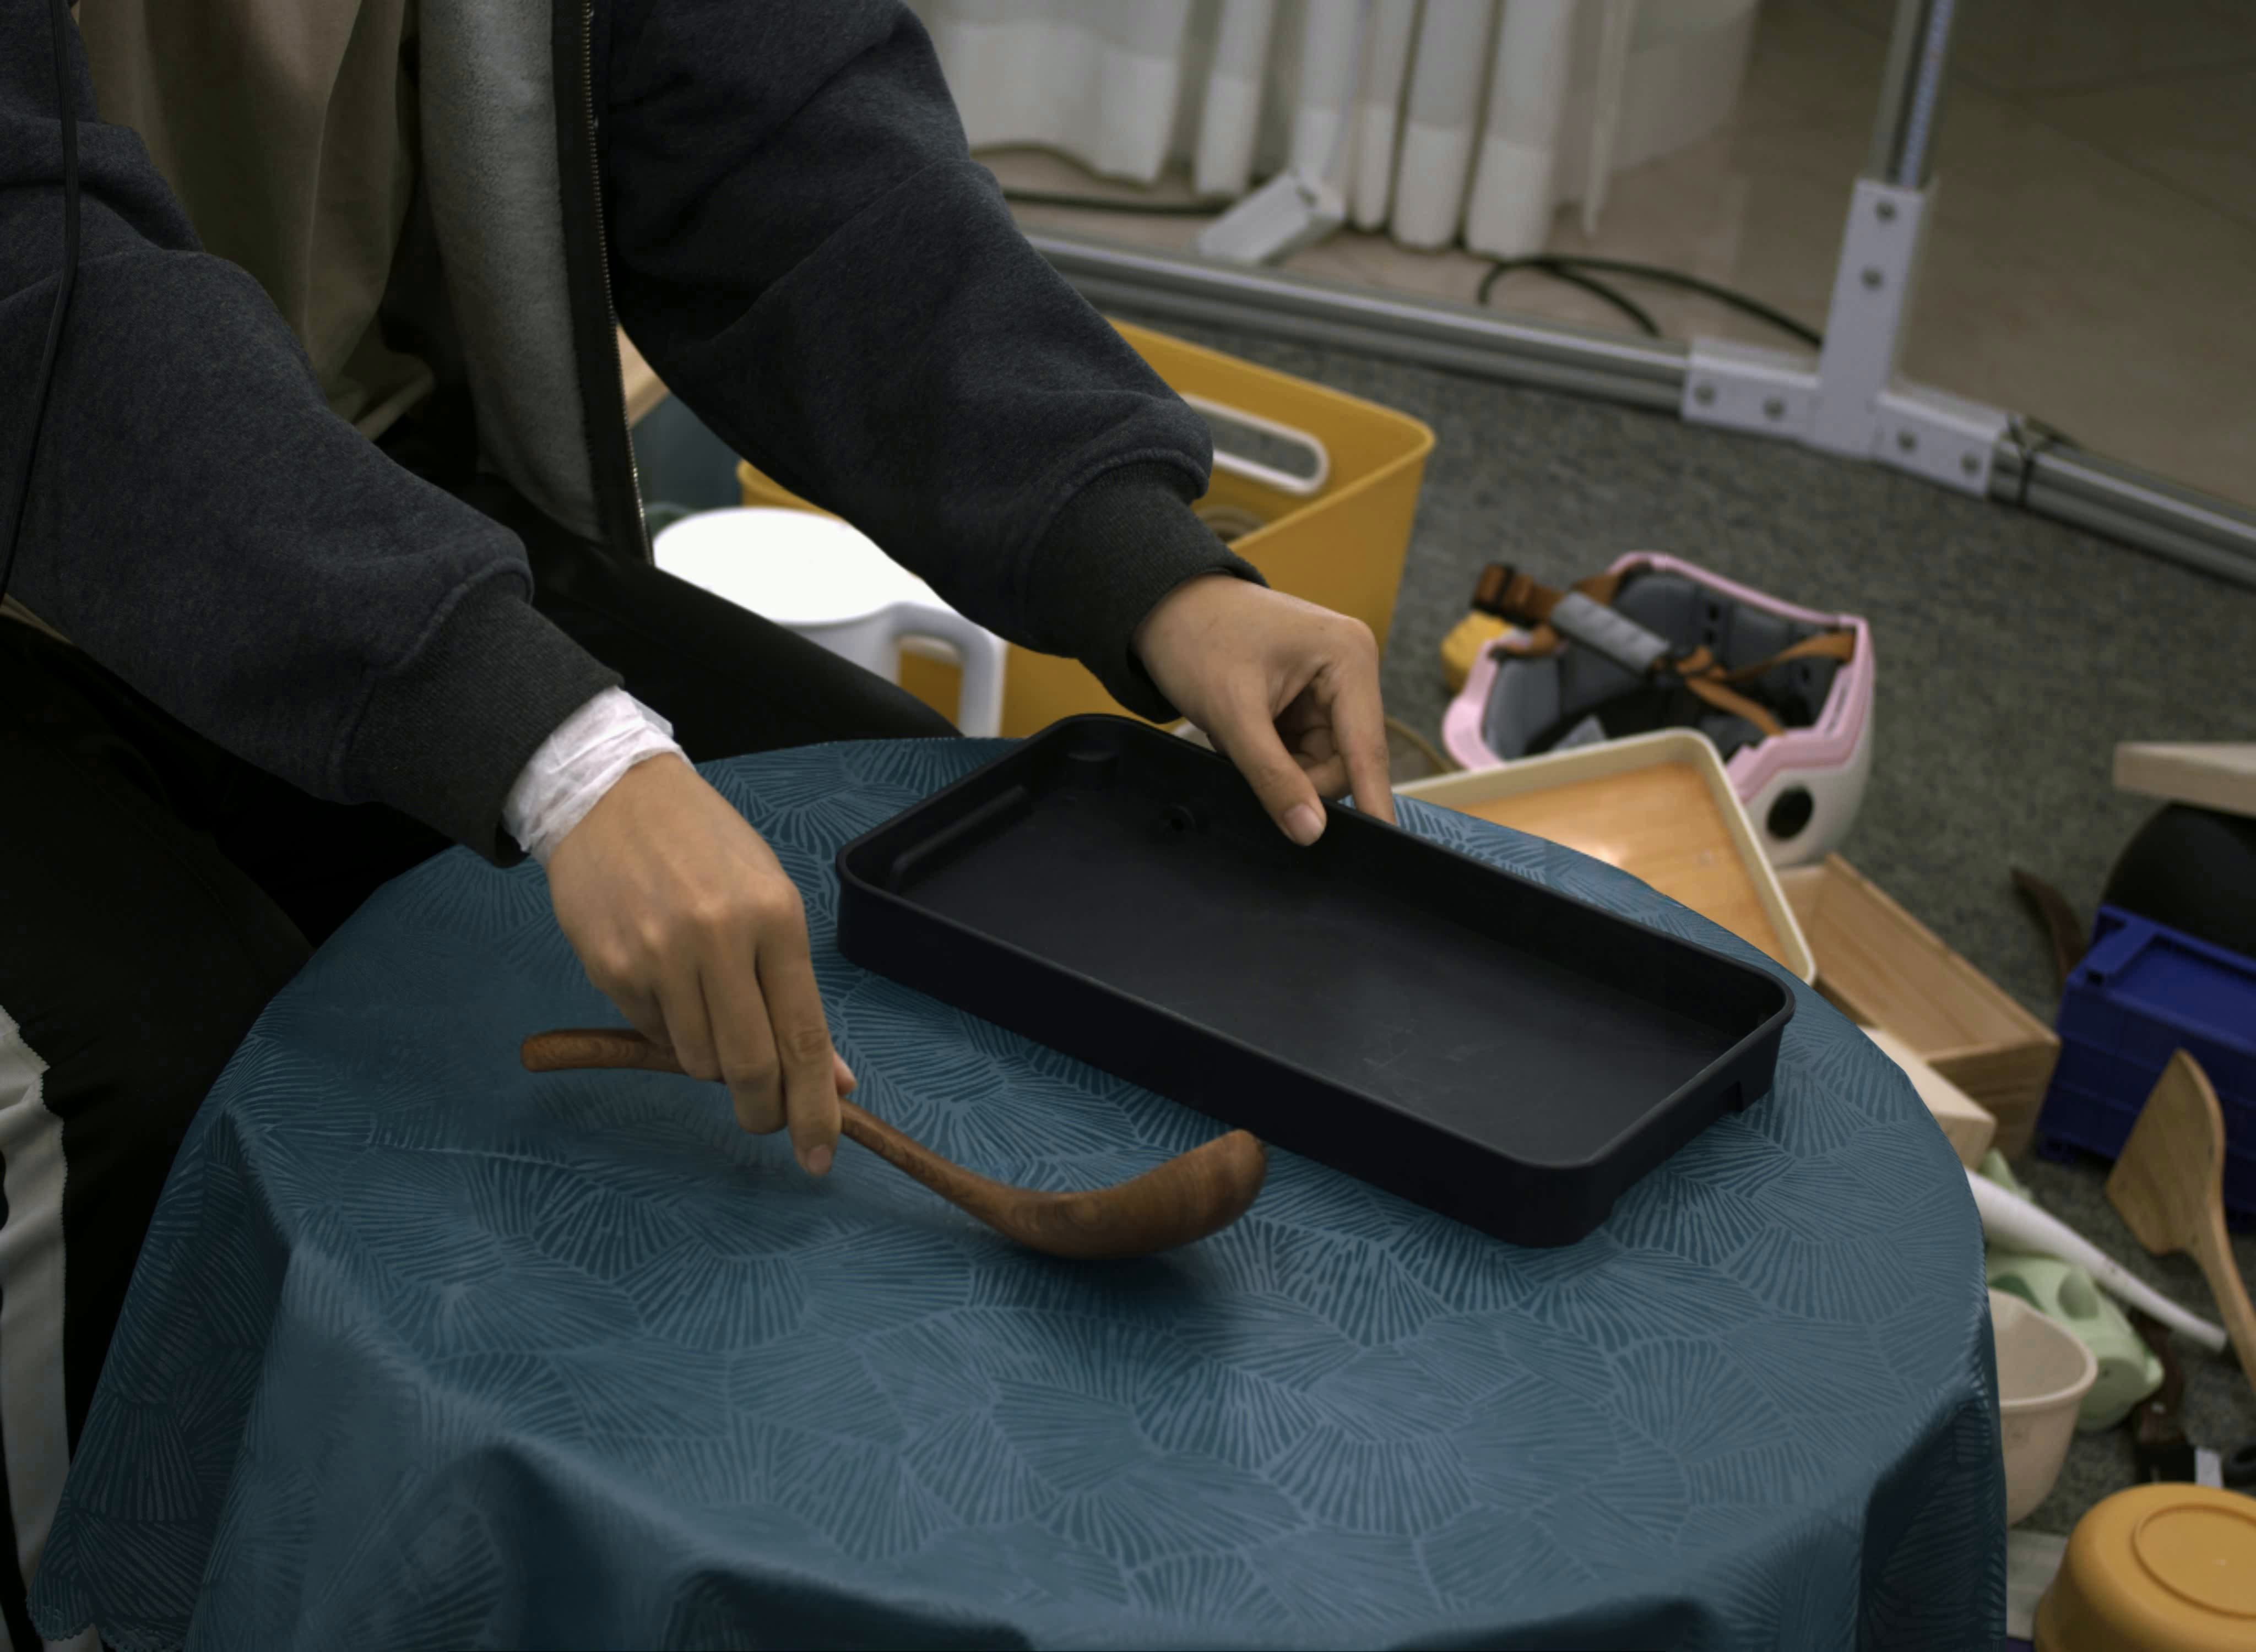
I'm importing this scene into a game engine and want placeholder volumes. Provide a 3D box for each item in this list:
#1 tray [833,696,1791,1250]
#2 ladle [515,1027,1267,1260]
[{"bbox_3d":[0.064,0.048,1.918,0.320,0.037,0.184,23,32,27],"label":"tray"},{"bbox_3d":[-0.079,0.090,1.767,0.261,0.065,0.076,18,3,15],"label":"ladle"}]
